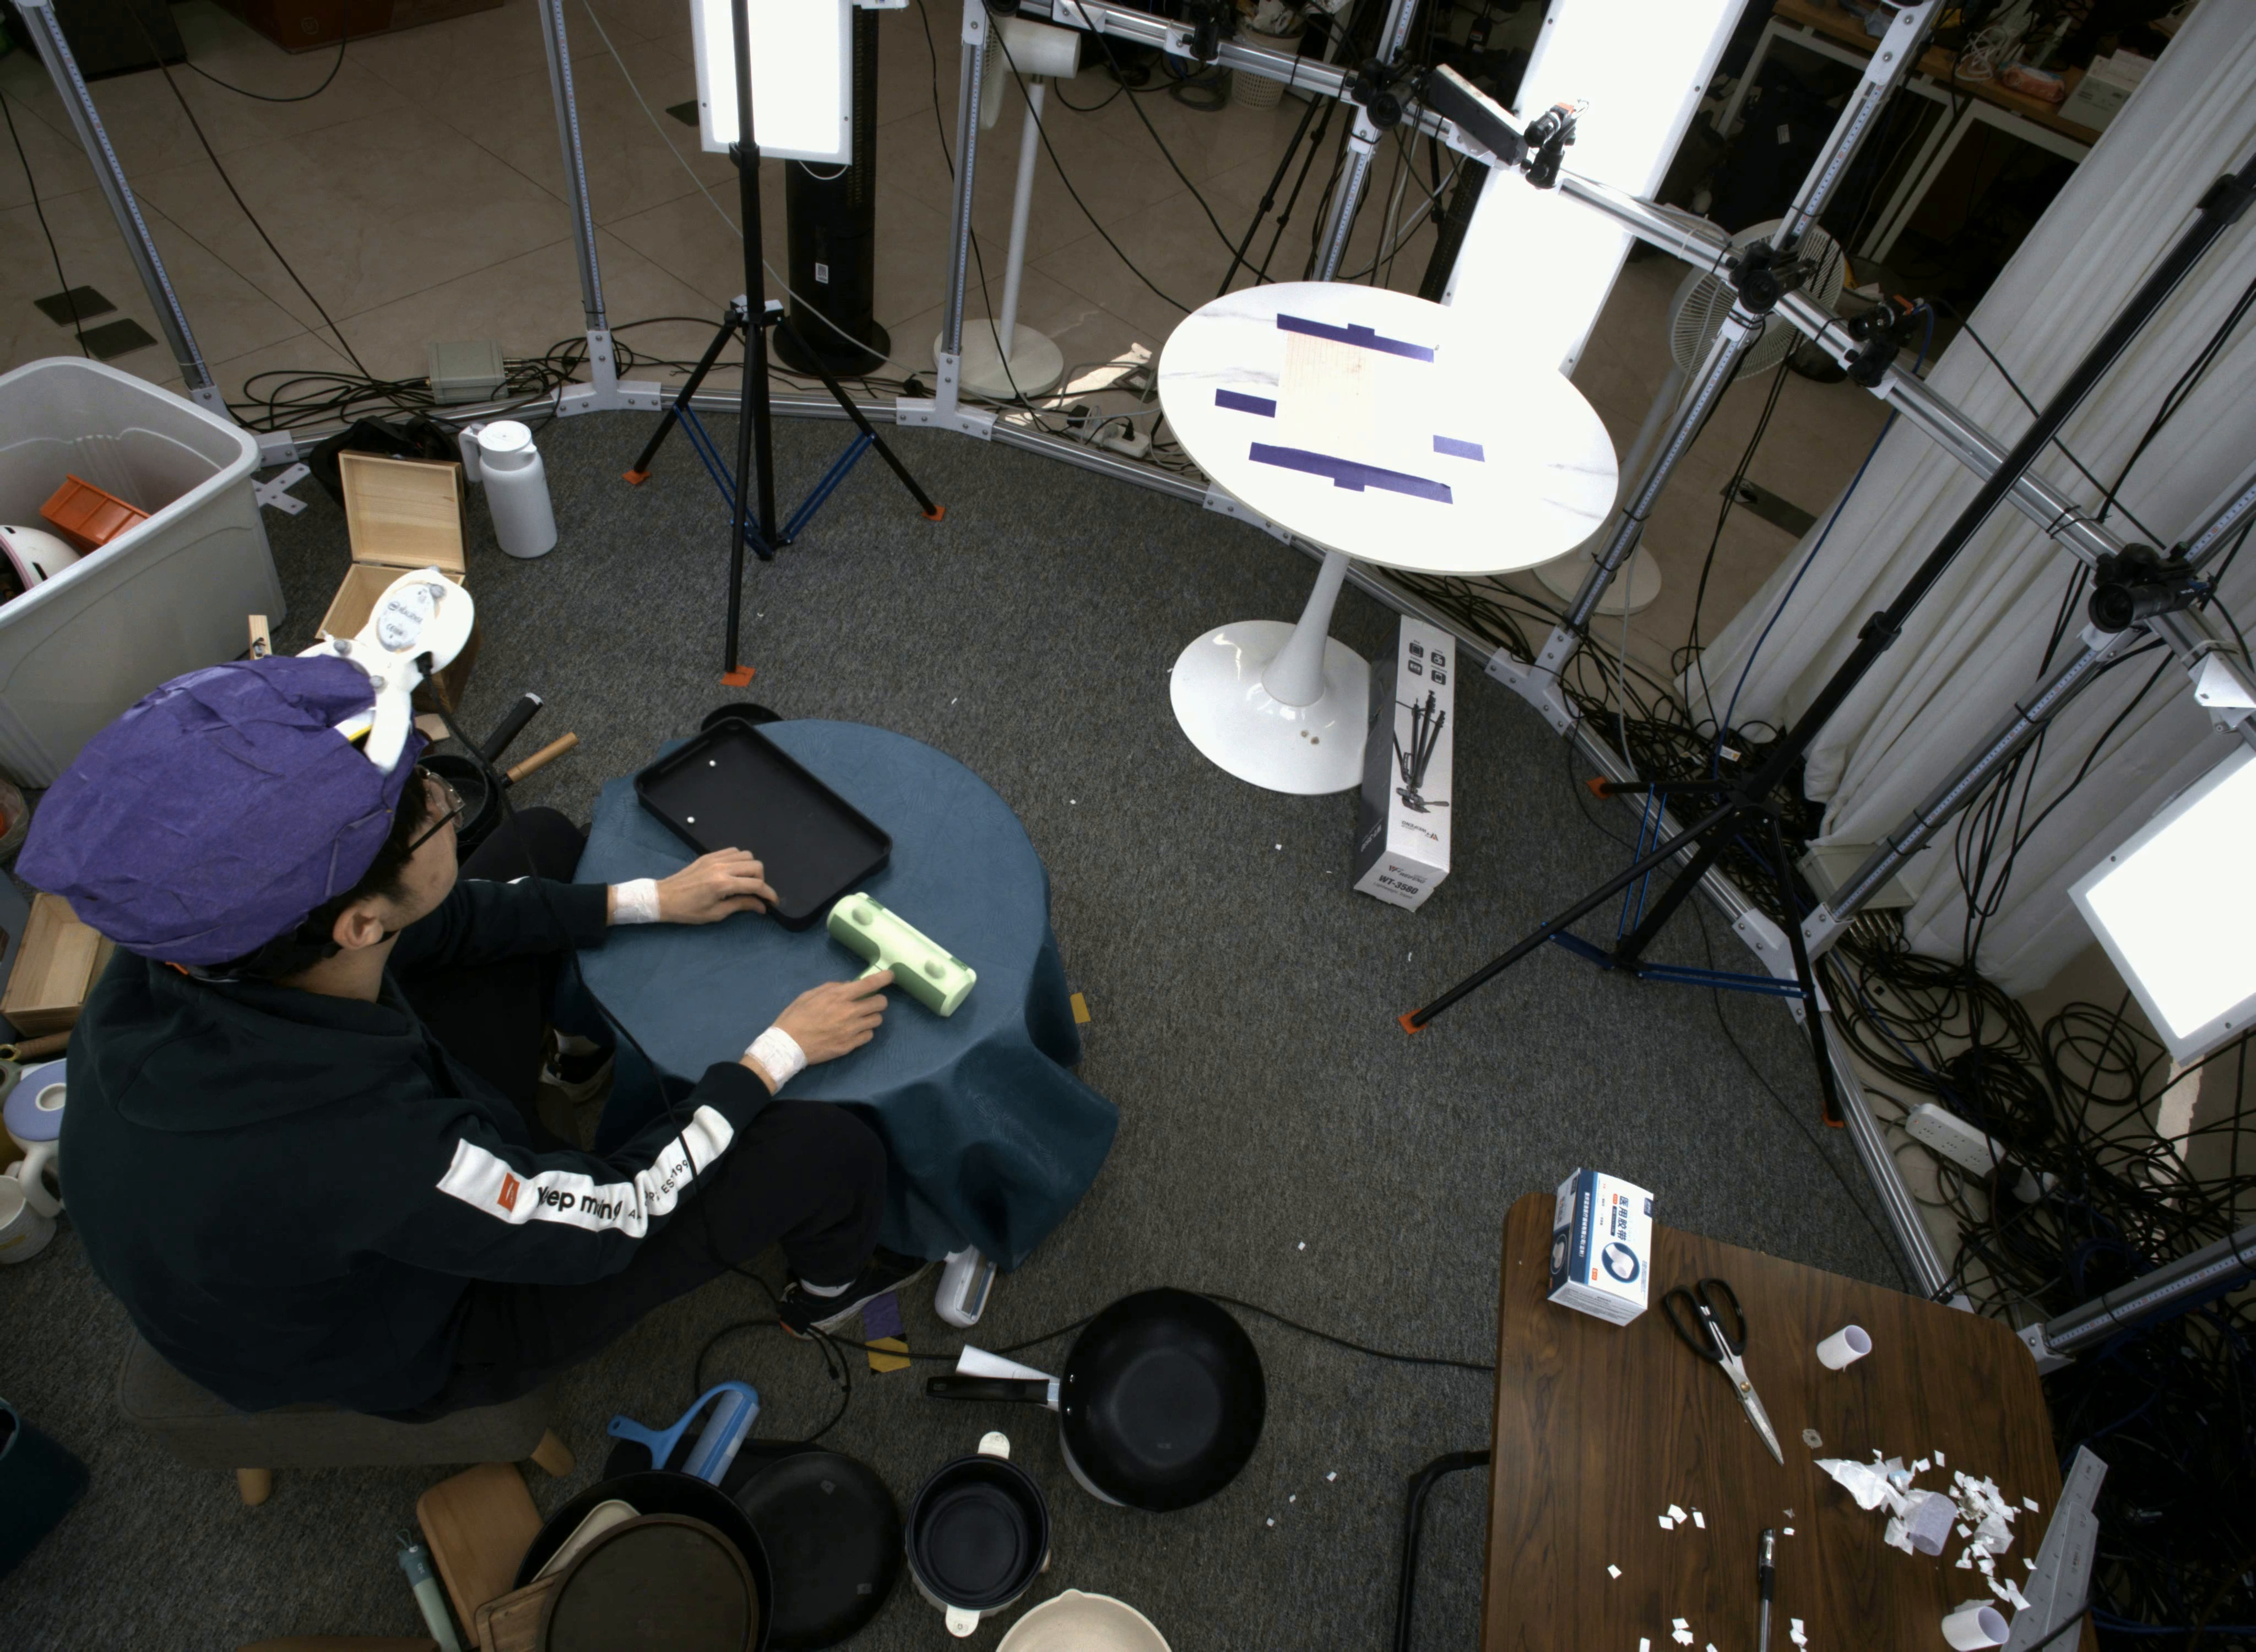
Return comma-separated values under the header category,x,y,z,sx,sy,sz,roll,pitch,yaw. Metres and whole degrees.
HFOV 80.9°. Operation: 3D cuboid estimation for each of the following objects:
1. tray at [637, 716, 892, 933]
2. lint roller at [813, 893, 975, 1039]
category,x,y,z,sx,sy,sz,roll,pitch,yaw
tray,-0.478,-0.008,1.698,0.312,0.038,0.184,37,54,14
lint roller,-0.312,0.179,1.569,0.195,0.084,0.183,35,45,12
